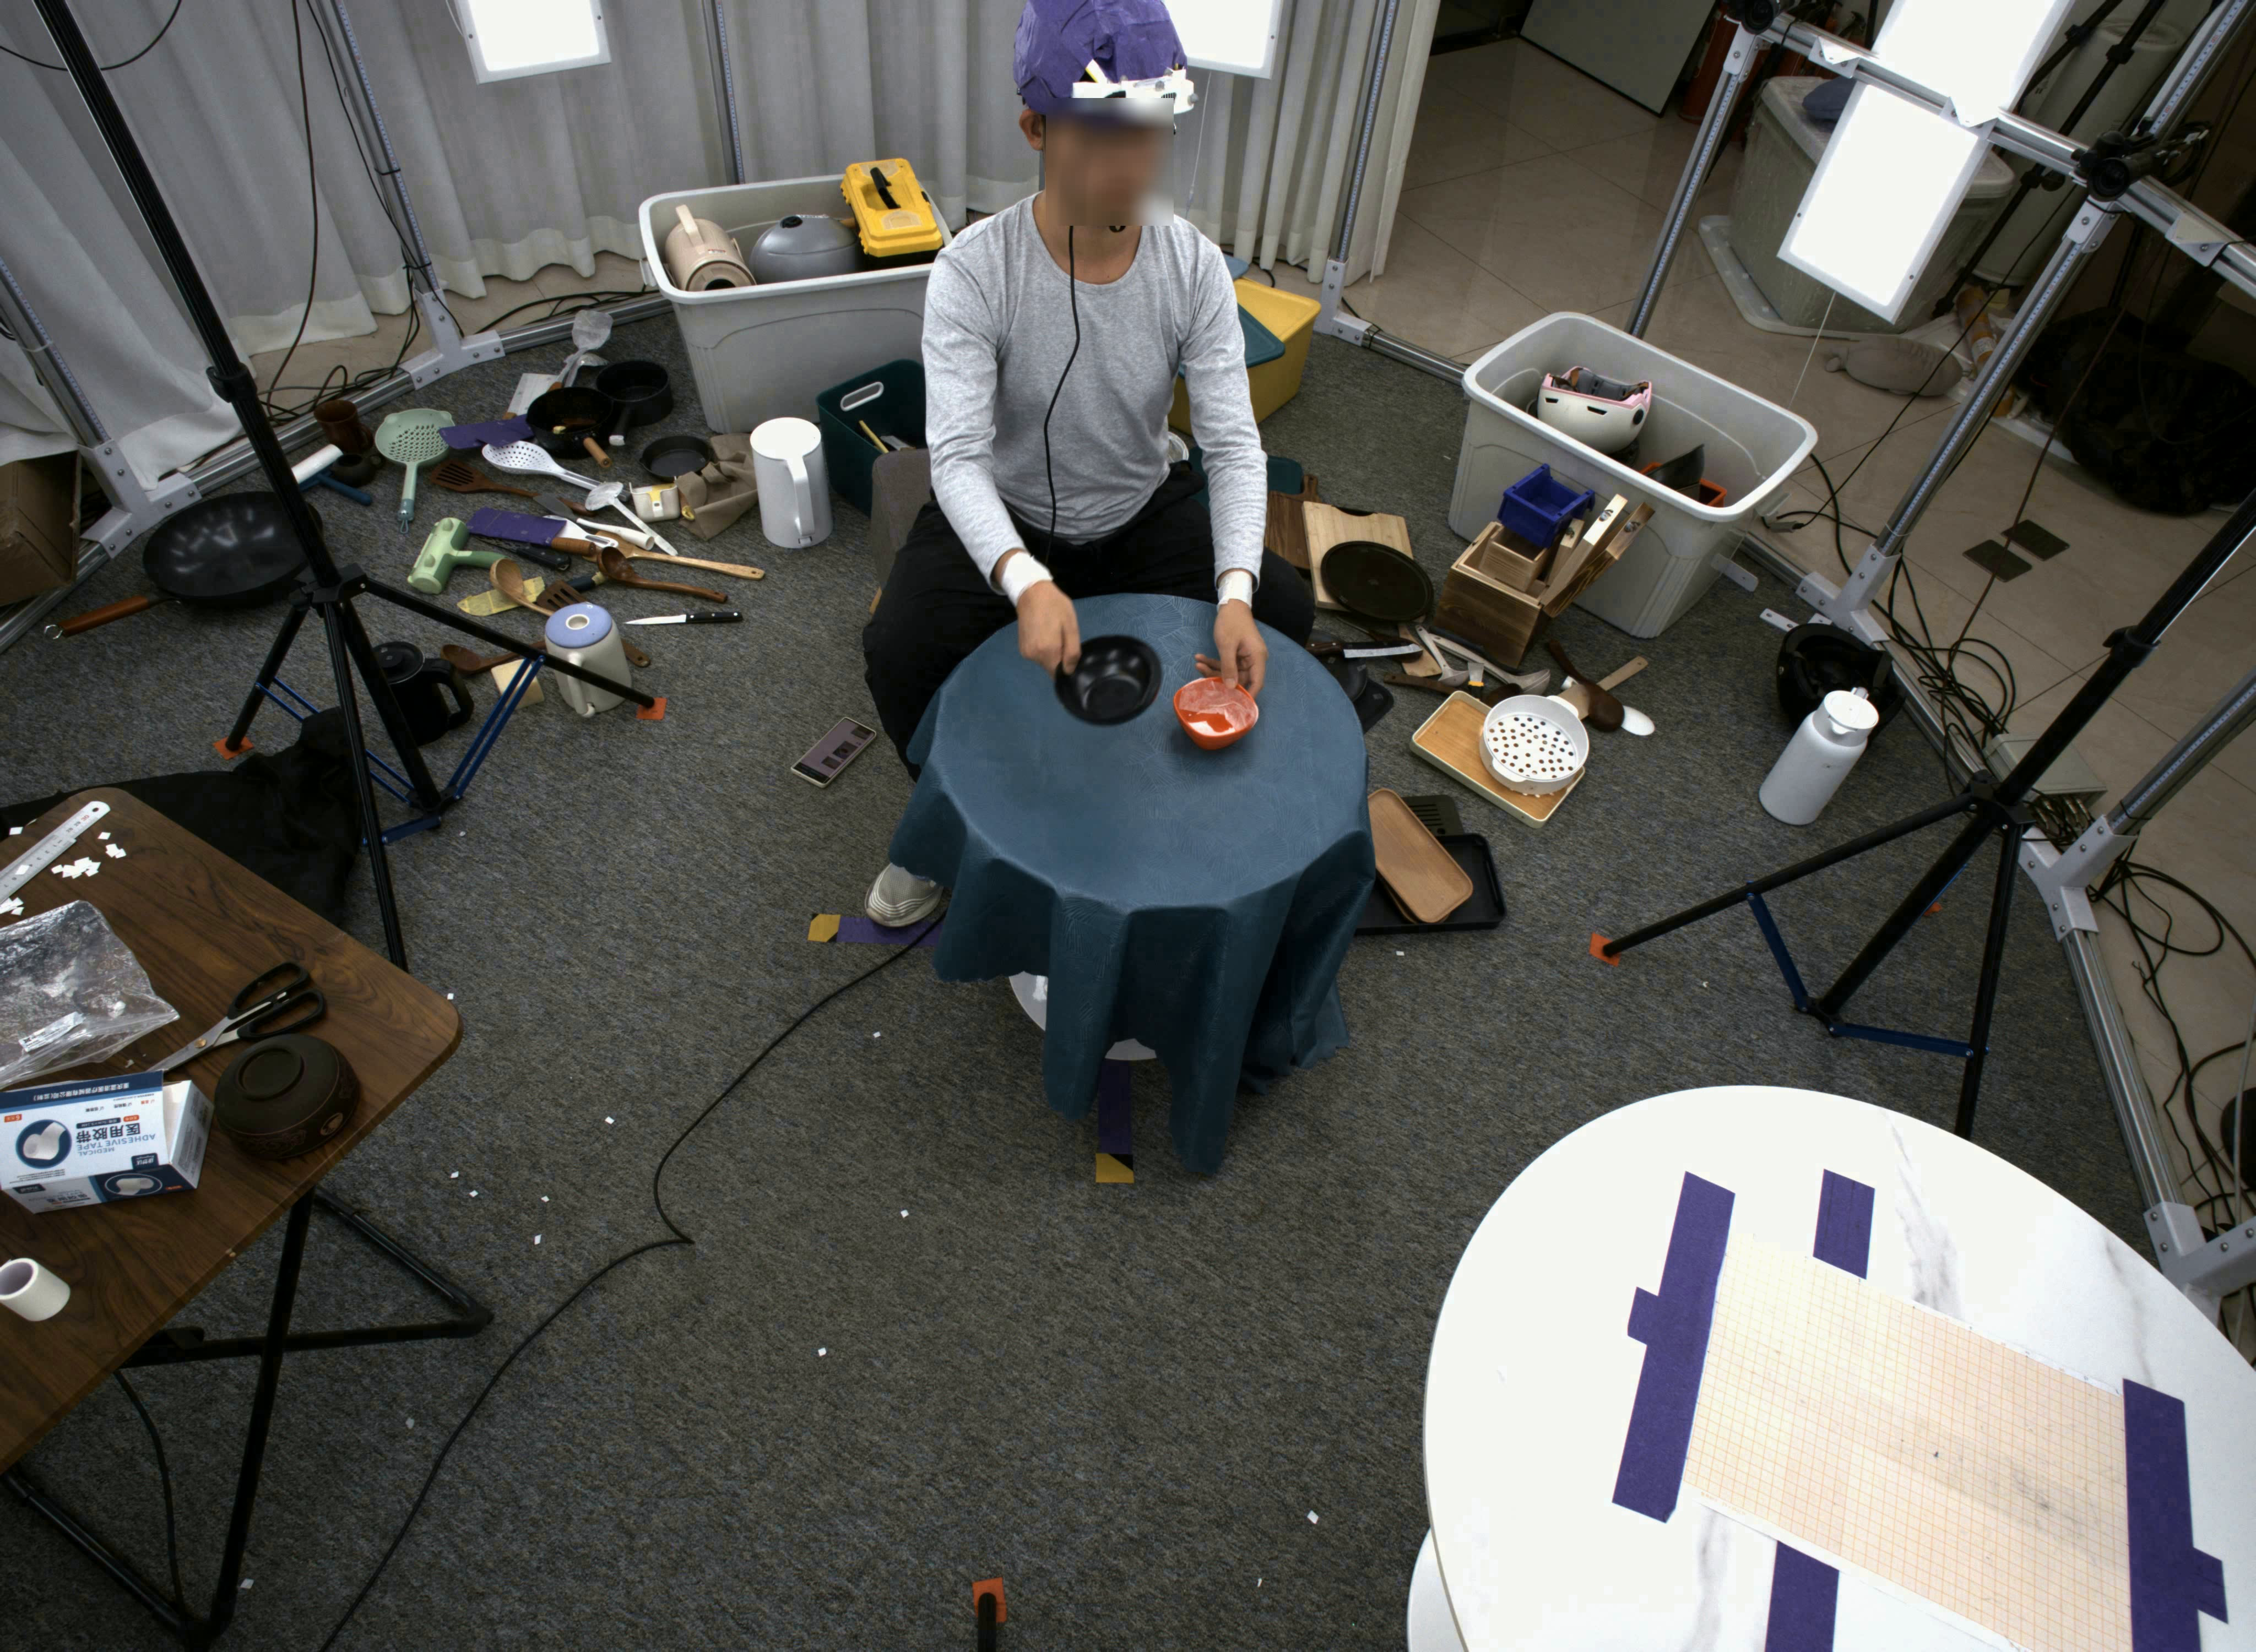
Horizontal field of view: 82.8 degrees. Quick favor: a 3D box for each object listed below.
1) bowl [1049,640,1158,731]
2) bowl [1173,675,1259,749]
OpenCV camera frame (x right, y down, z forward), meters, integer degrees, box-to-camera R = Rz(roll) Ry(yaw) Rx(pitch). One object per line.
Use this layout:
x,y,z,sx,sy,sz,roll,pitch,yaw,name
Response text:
-0.027,-0.169,1.624,0.140,0.048,0.143,-7,51,8,bowl
0.119,-0.151,1.771,0.119,0.050,0.122,2,52,-3,bowl
